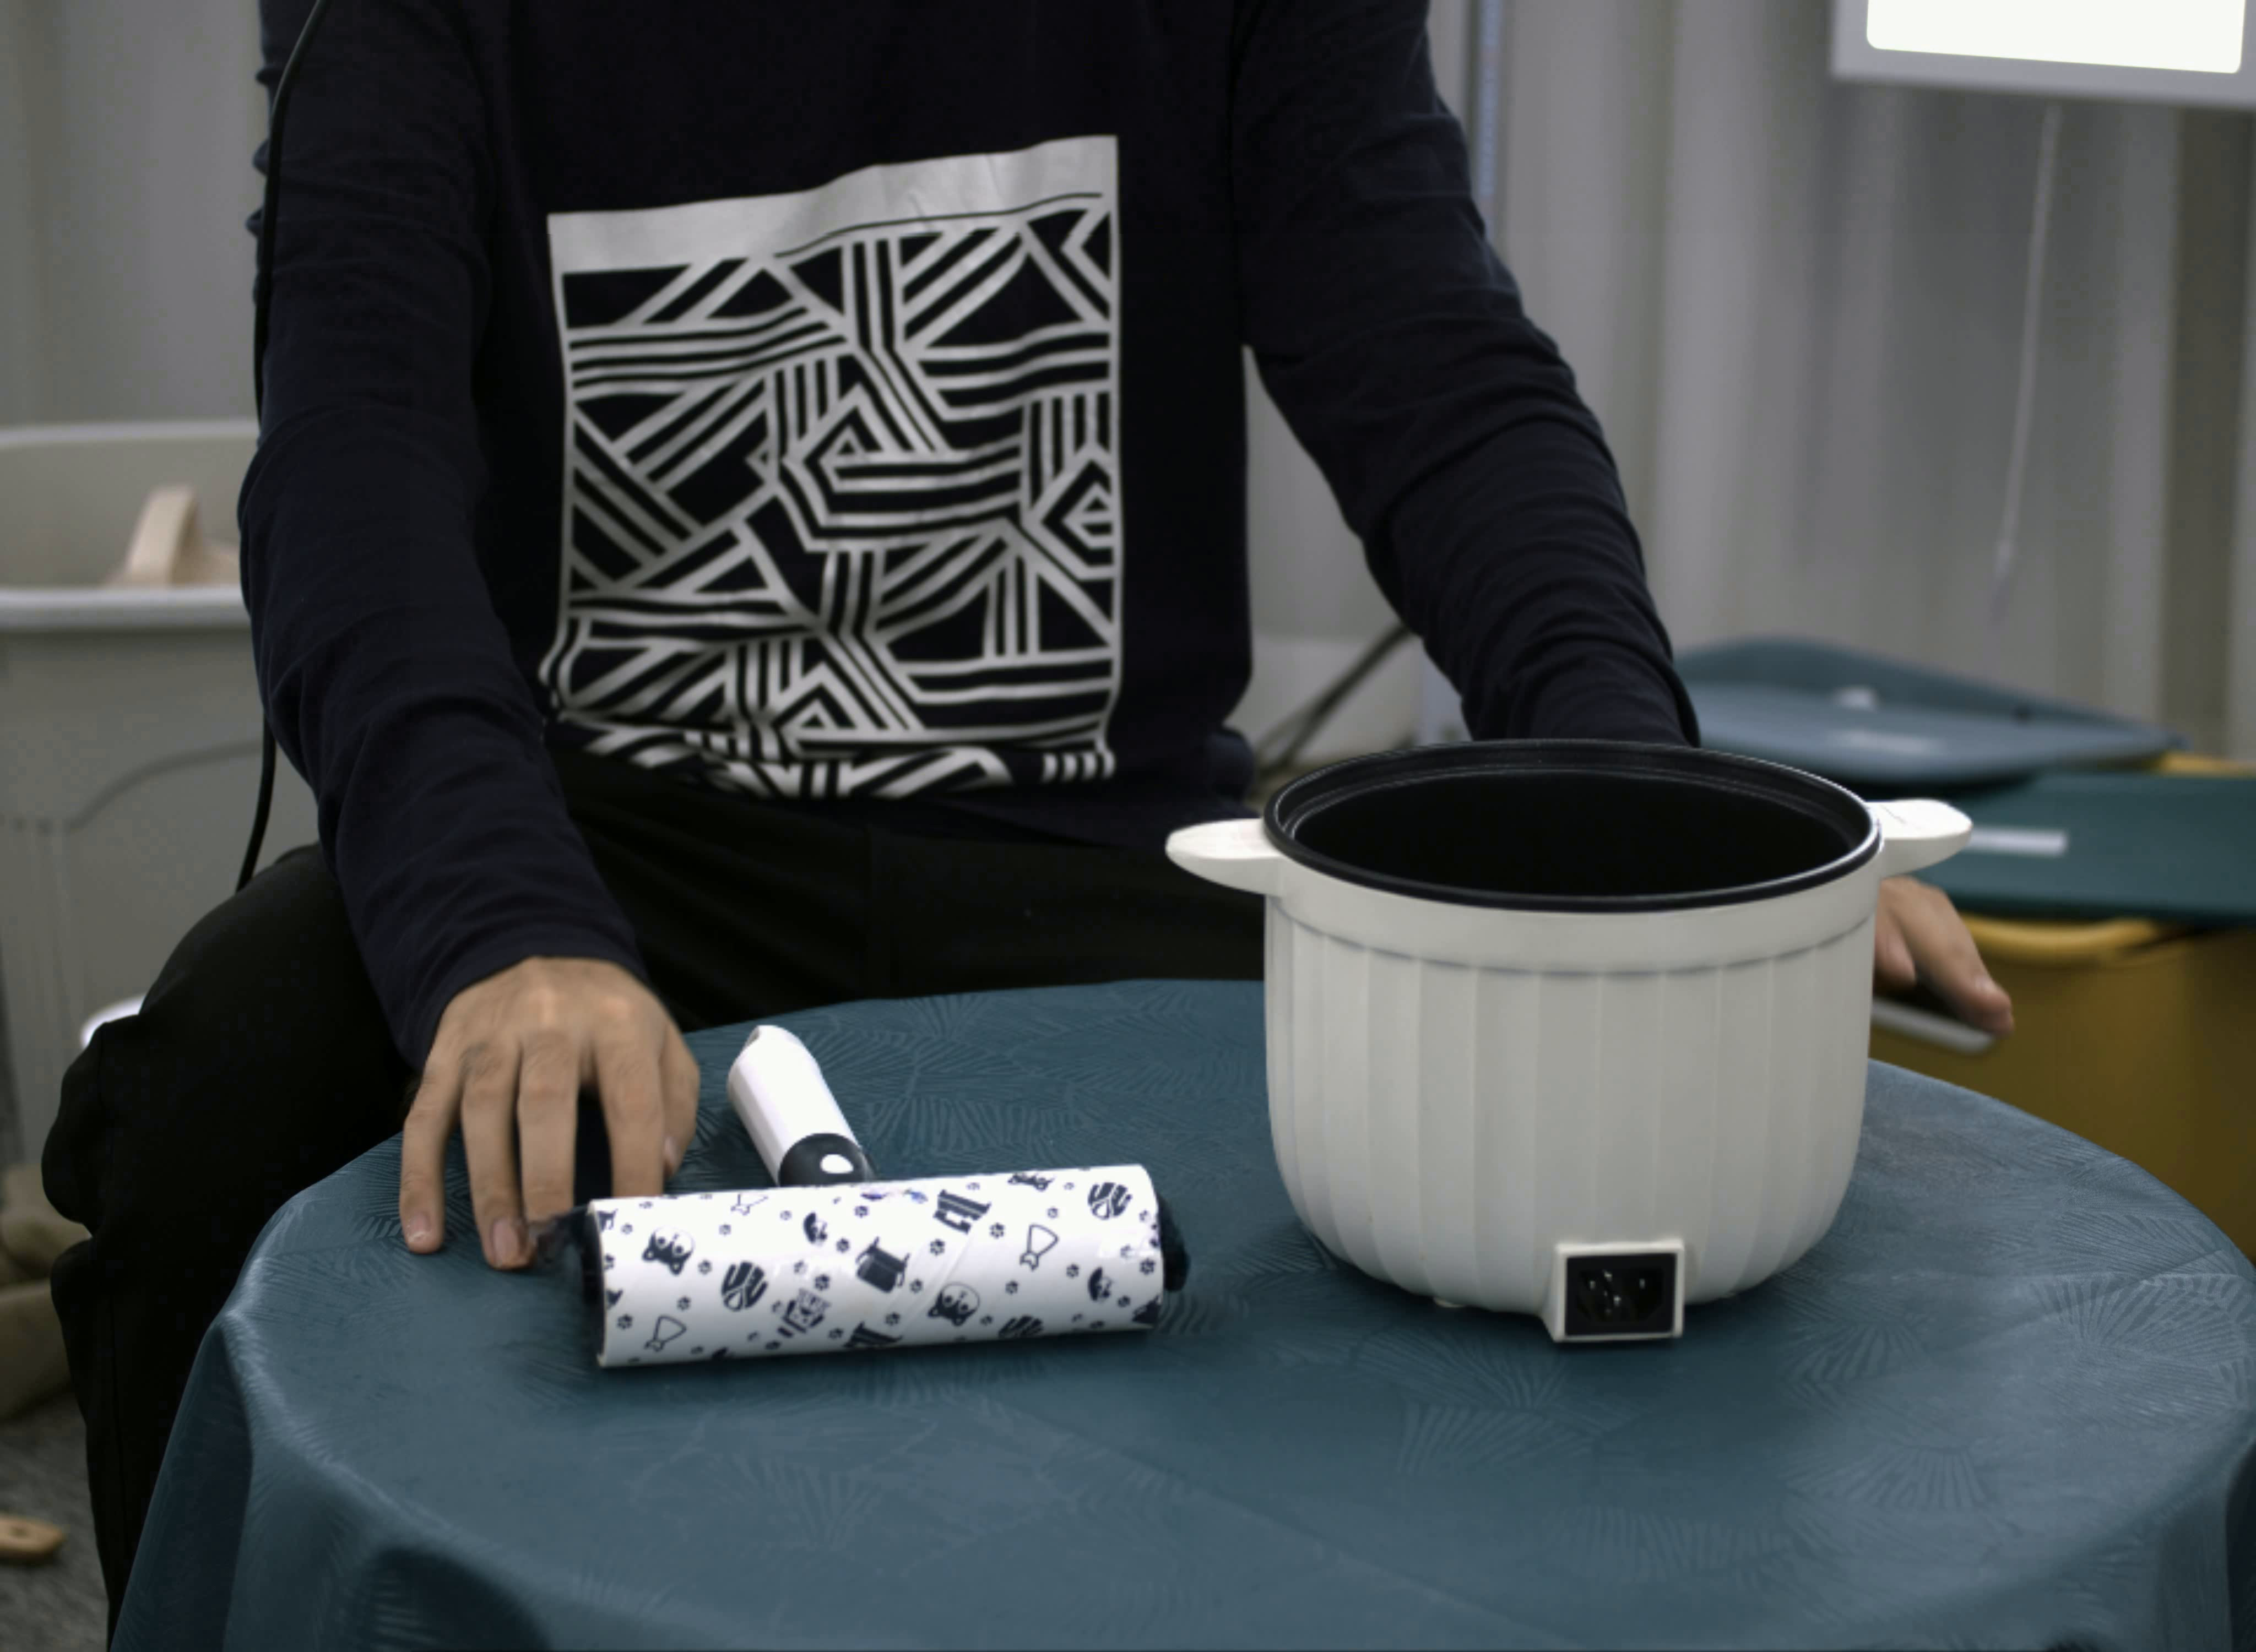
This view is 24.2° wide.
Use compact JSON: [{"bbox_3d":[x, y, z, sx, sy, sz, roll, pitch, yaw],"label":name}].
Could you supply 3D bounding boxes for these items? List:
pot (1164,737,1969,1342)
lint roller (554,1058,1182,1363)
[{"bbox_3d":[0.127,0.059,1.560,0.240,0.144,0.189,-1,18,-9],"label":"pot"},{"bbox_3d":[-0.095,0.102,1.585,0.176,0.051,0.245,-4,13,-12],"label":"lint roller"}]
